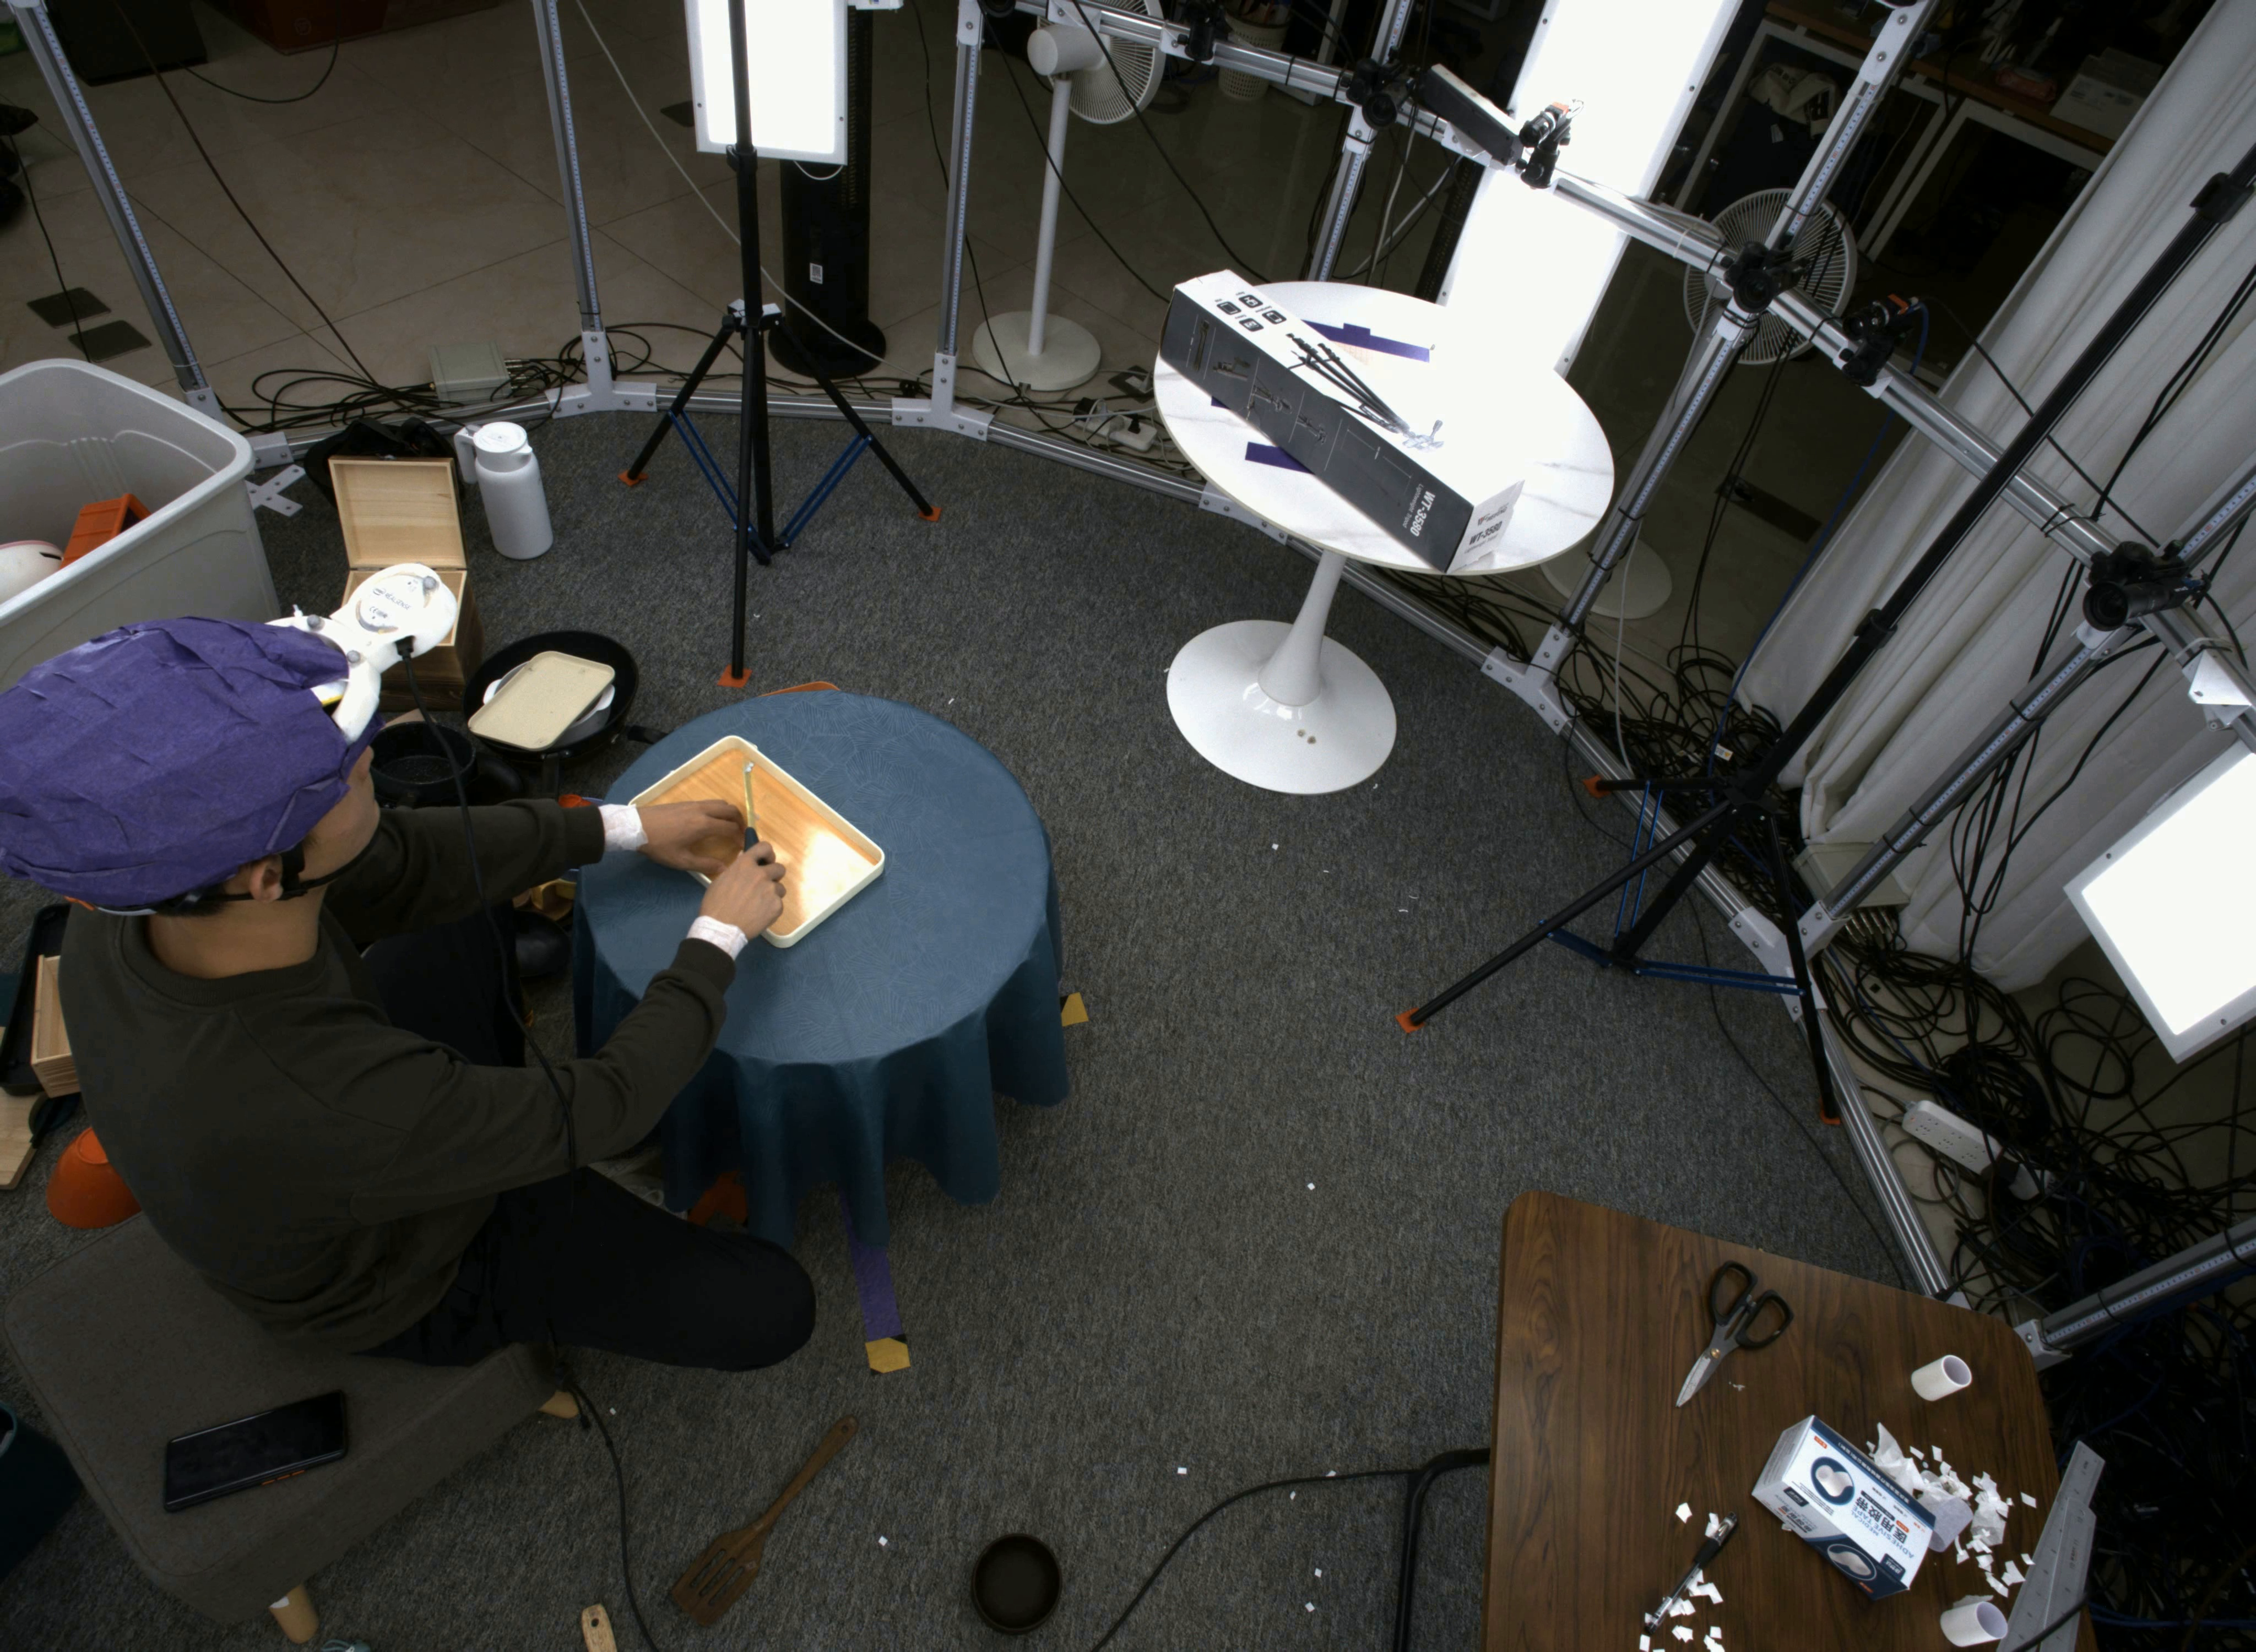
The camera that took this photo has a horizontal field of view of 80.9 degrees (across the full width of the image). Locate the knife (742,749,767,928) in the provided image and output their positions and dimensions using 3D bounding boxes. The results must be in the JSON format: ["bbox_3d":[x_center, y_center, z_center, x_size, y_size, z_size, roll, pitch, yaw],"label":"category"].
[{"bbox_3d":[-0.468,0.013,1.616,0.027,0.083,0.282,-11,53,-7],"label":"knife"}]

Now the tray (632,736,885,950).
[{"bbox_3d":[-0.484,0.015,1.692,0.294,0.028,0.191,37,55,14],"label":"tray"}]
